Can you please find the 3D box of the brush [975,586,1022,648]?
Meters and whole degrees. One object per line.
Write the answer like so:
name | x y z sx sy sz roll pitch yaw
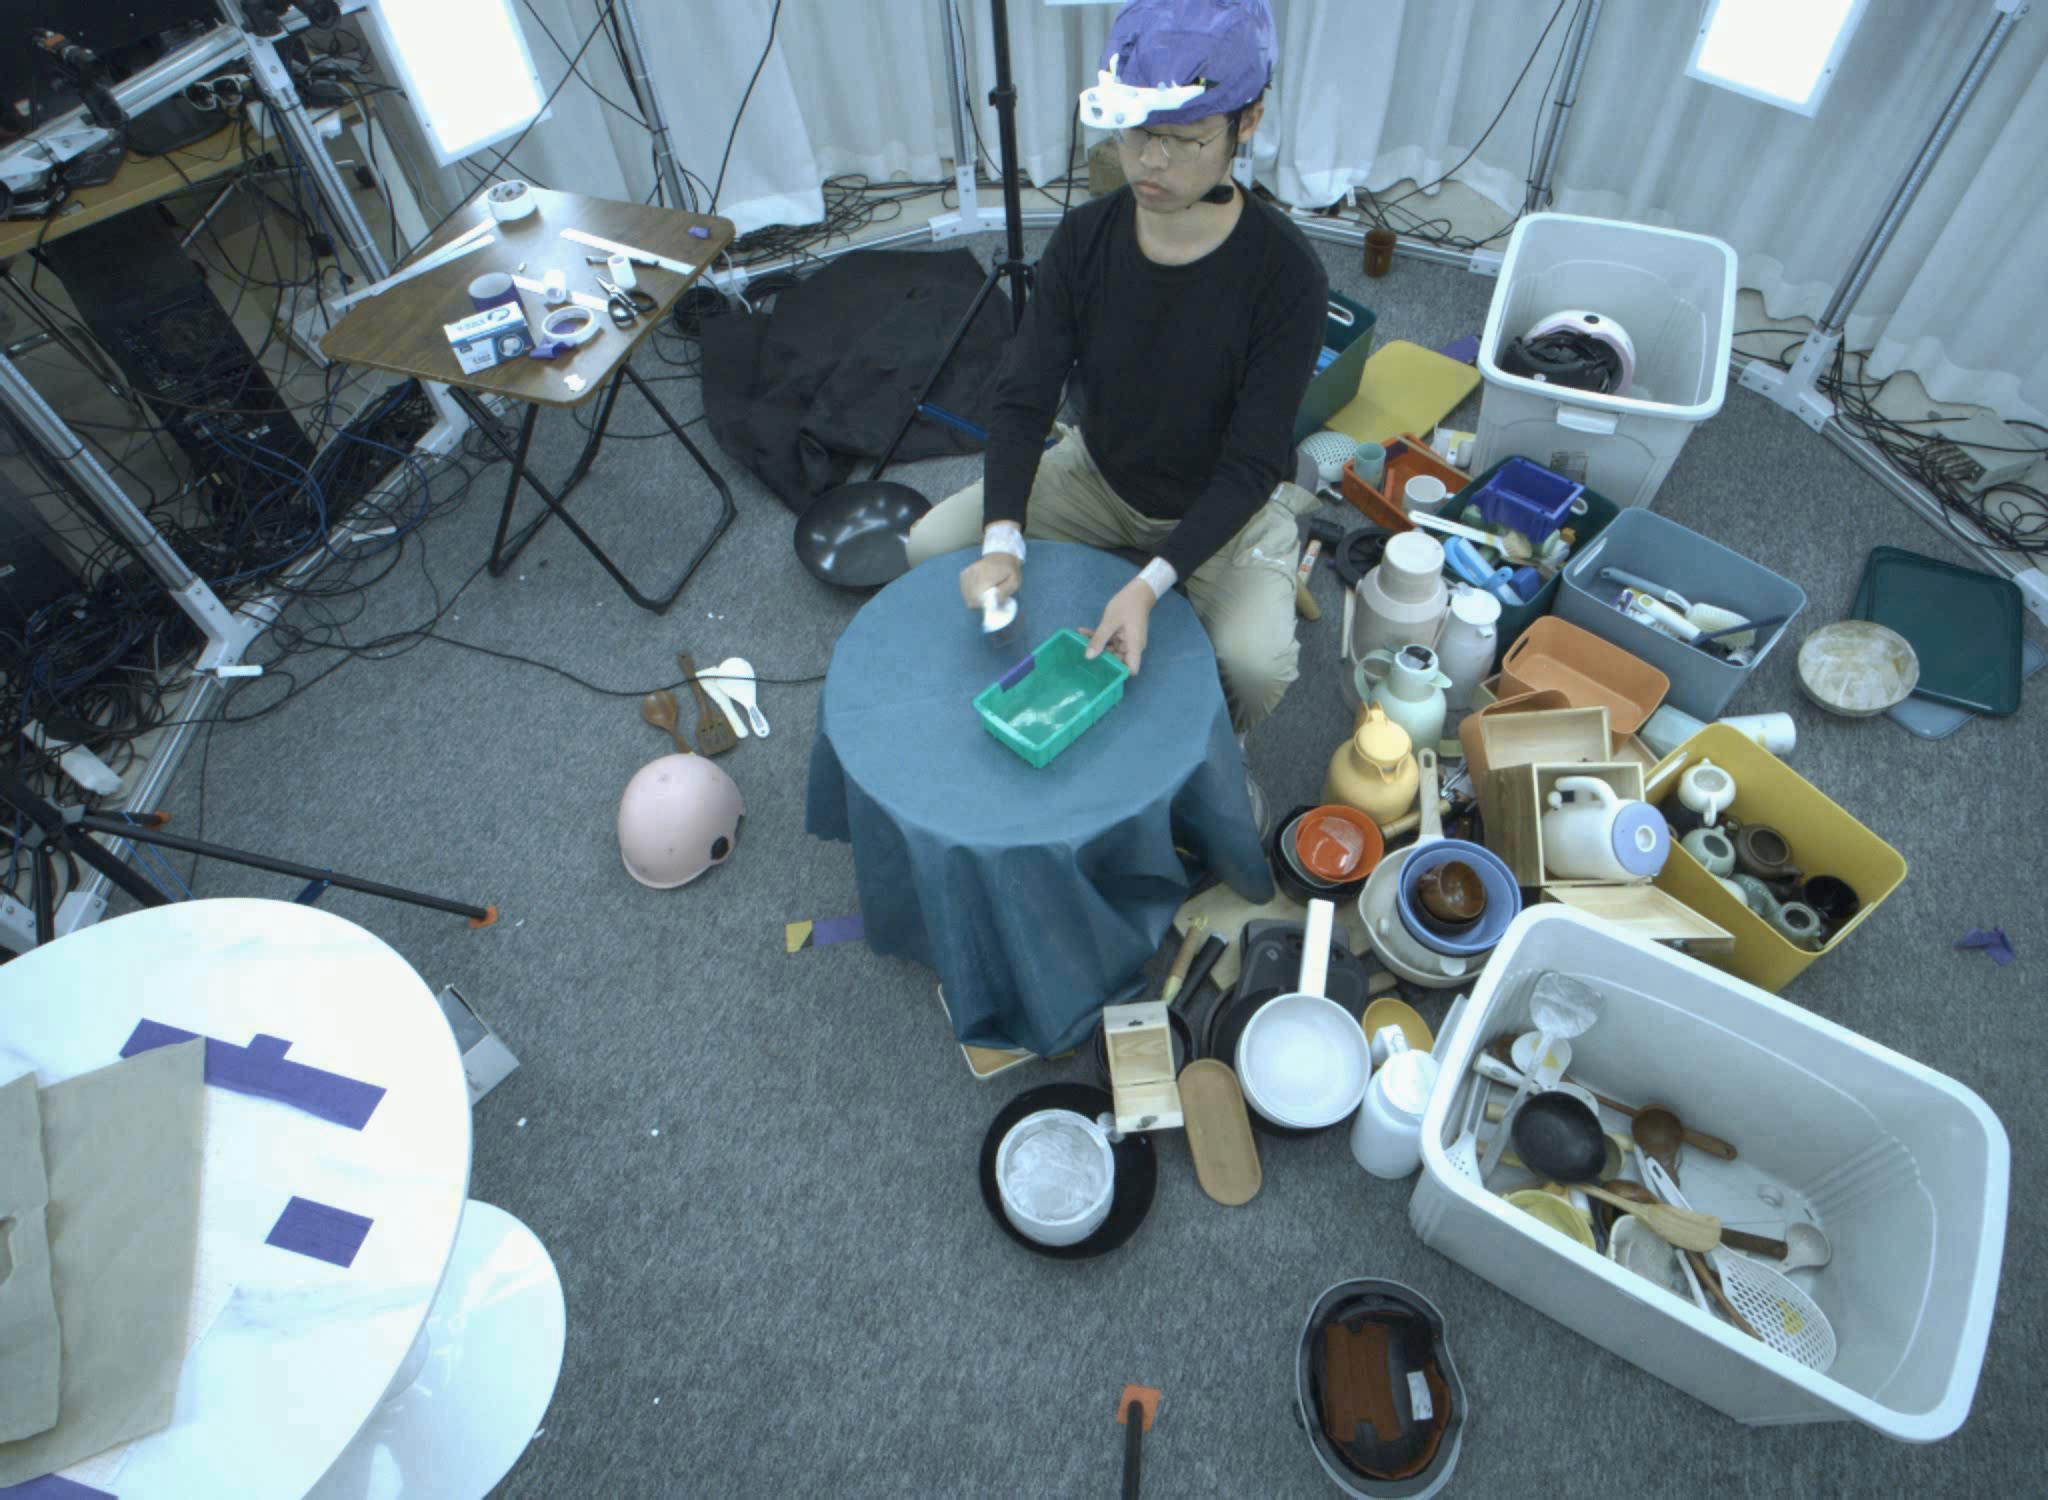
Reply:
brush | -0.045 -0.204 1.821 0.050 0.073 0.099 -22 24 22

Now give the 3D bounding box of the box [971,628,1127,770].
box | 0.039 -0.072 1.799 0.136 0.066 0.212 34 64 26
